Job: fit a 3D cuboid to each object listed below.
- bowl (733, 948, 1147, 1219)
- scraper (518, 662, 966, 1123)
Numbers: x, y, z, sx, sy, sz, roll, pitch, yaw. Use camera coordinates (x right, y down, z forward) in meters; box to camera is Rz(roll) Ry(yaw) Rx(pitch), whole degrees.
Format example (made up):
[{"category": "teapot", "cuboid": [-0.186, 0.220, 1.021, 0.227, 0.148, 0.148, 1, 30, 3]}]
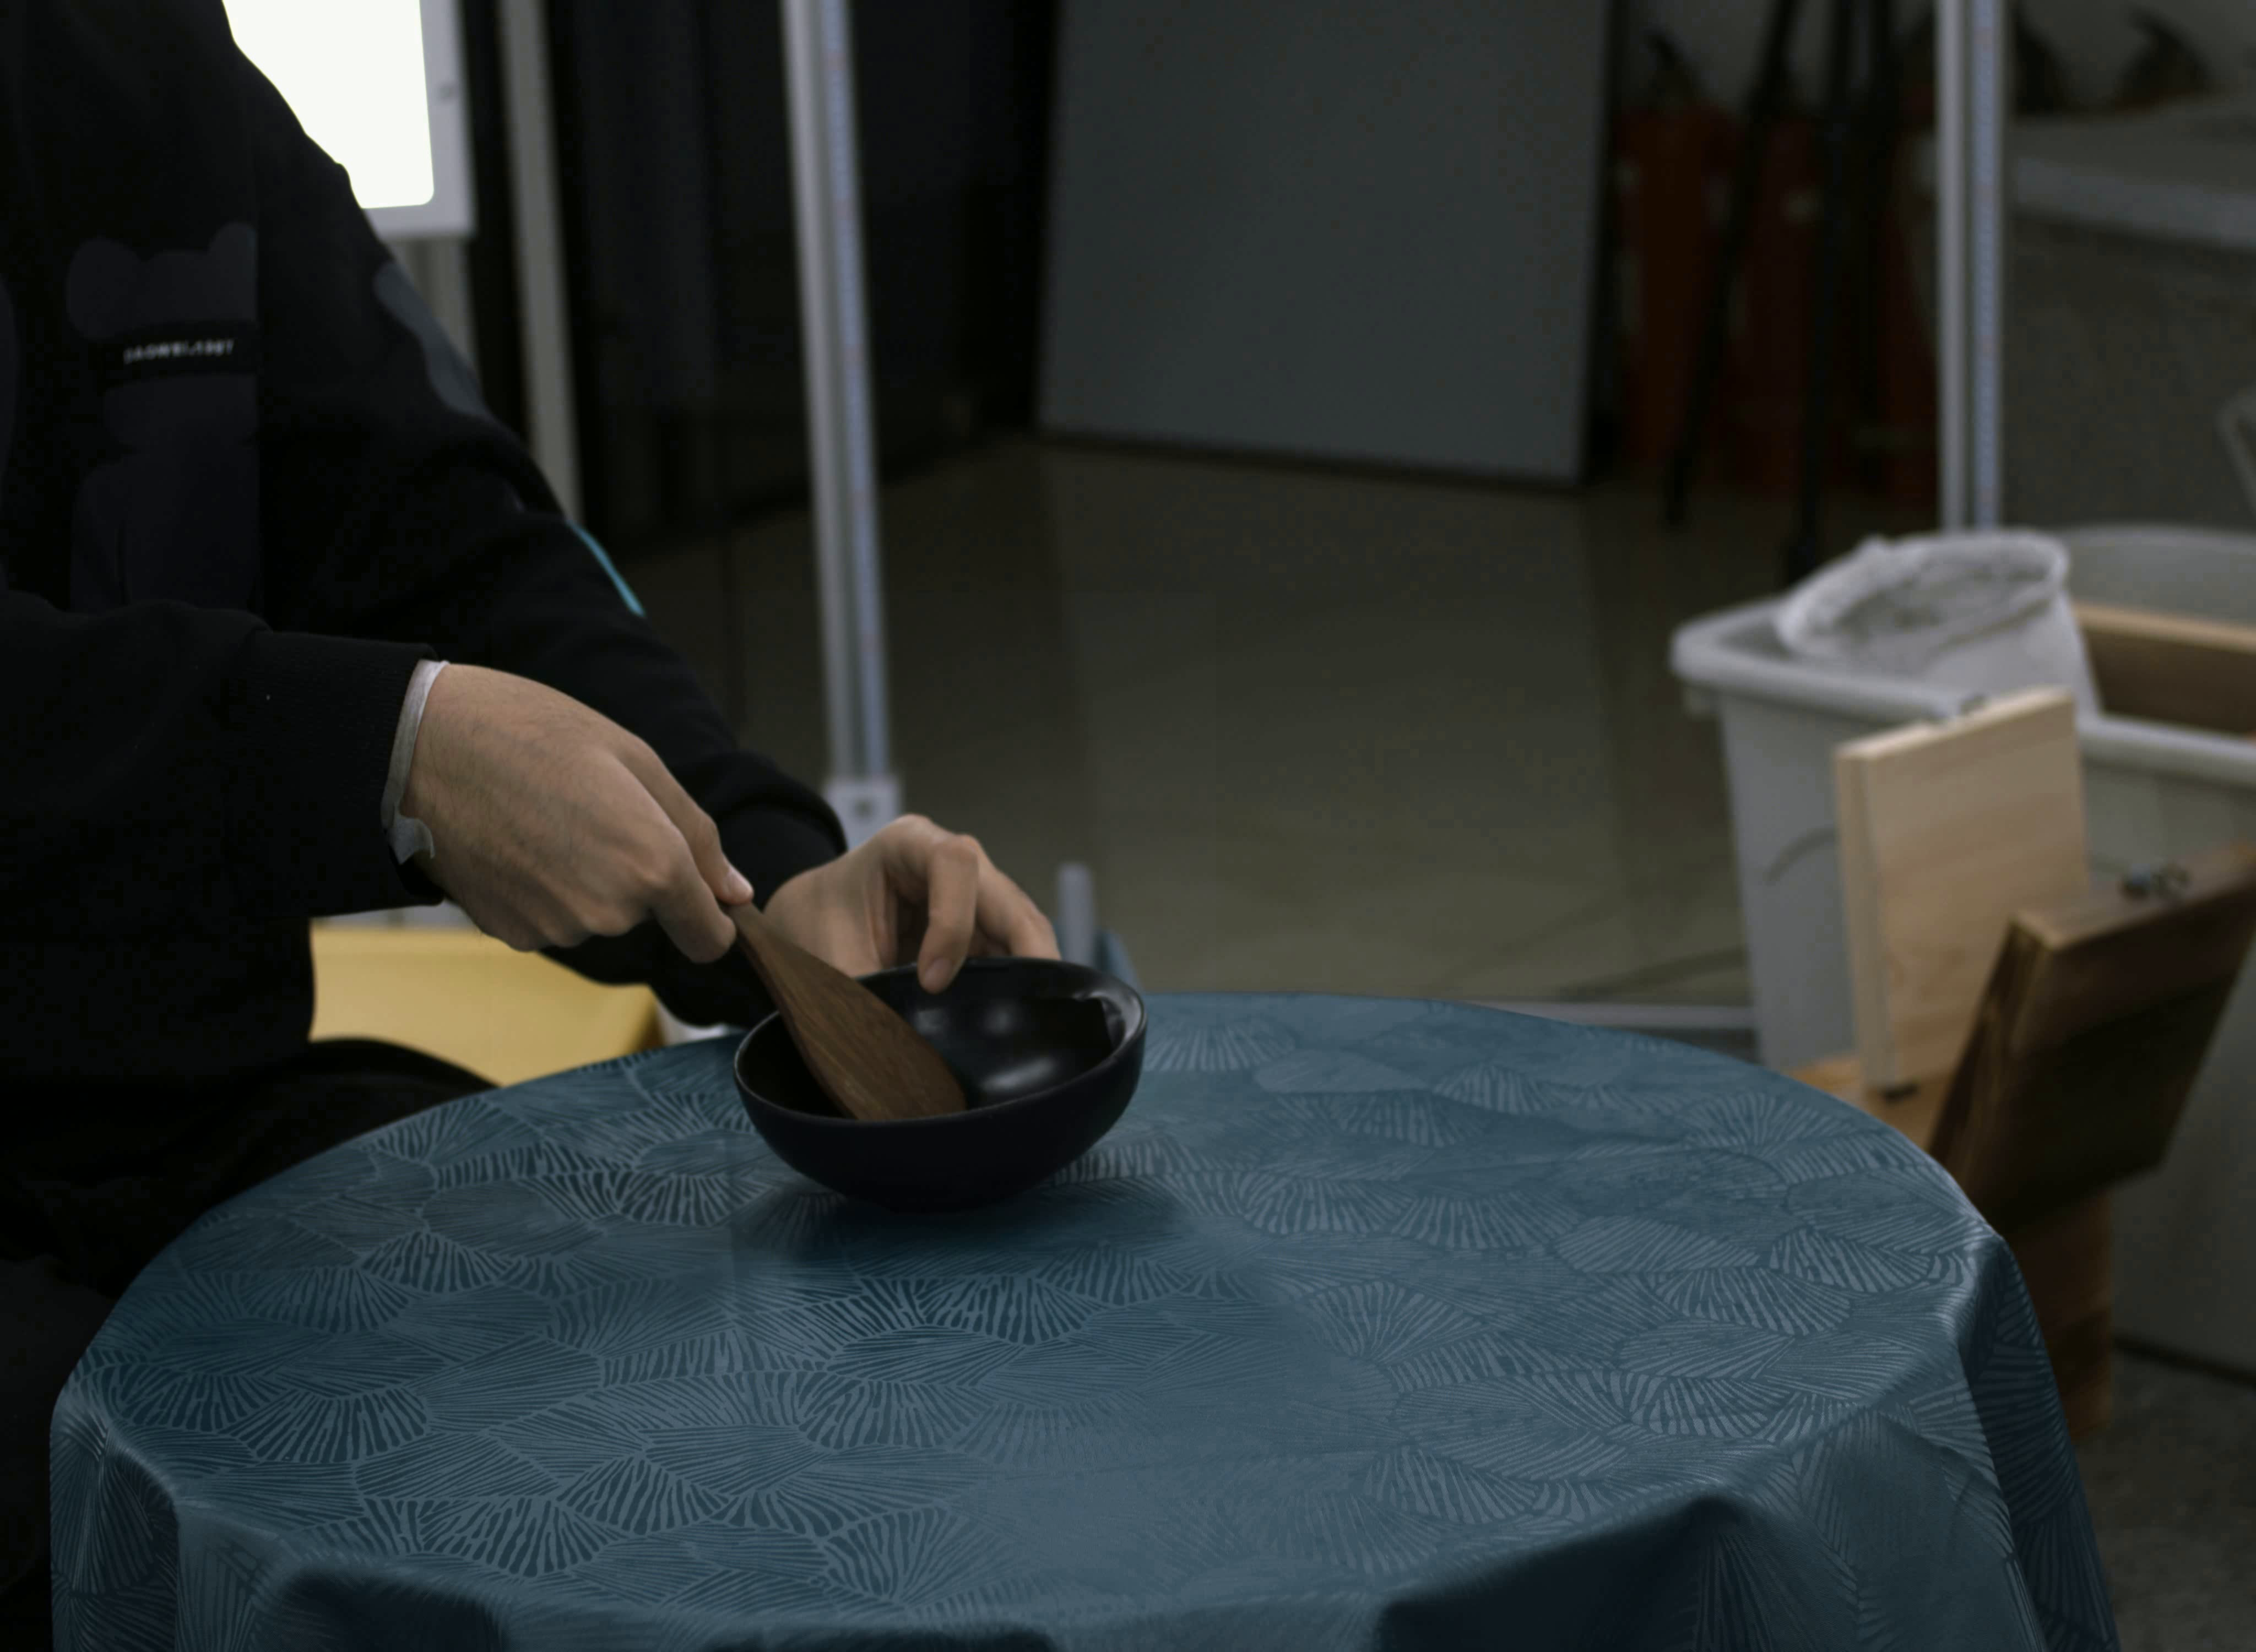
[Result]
[{"category": "bowl", "cuboid": [-0.059, 0.091, 1.779, 0.138, 0.050, 0.140, -8, 22, 2]}, {"category": "scraper", "cuboid": [-0.128, 0.028, 1.783, 0.011, 0.211, 0.075, -37, 11, 23]}]
